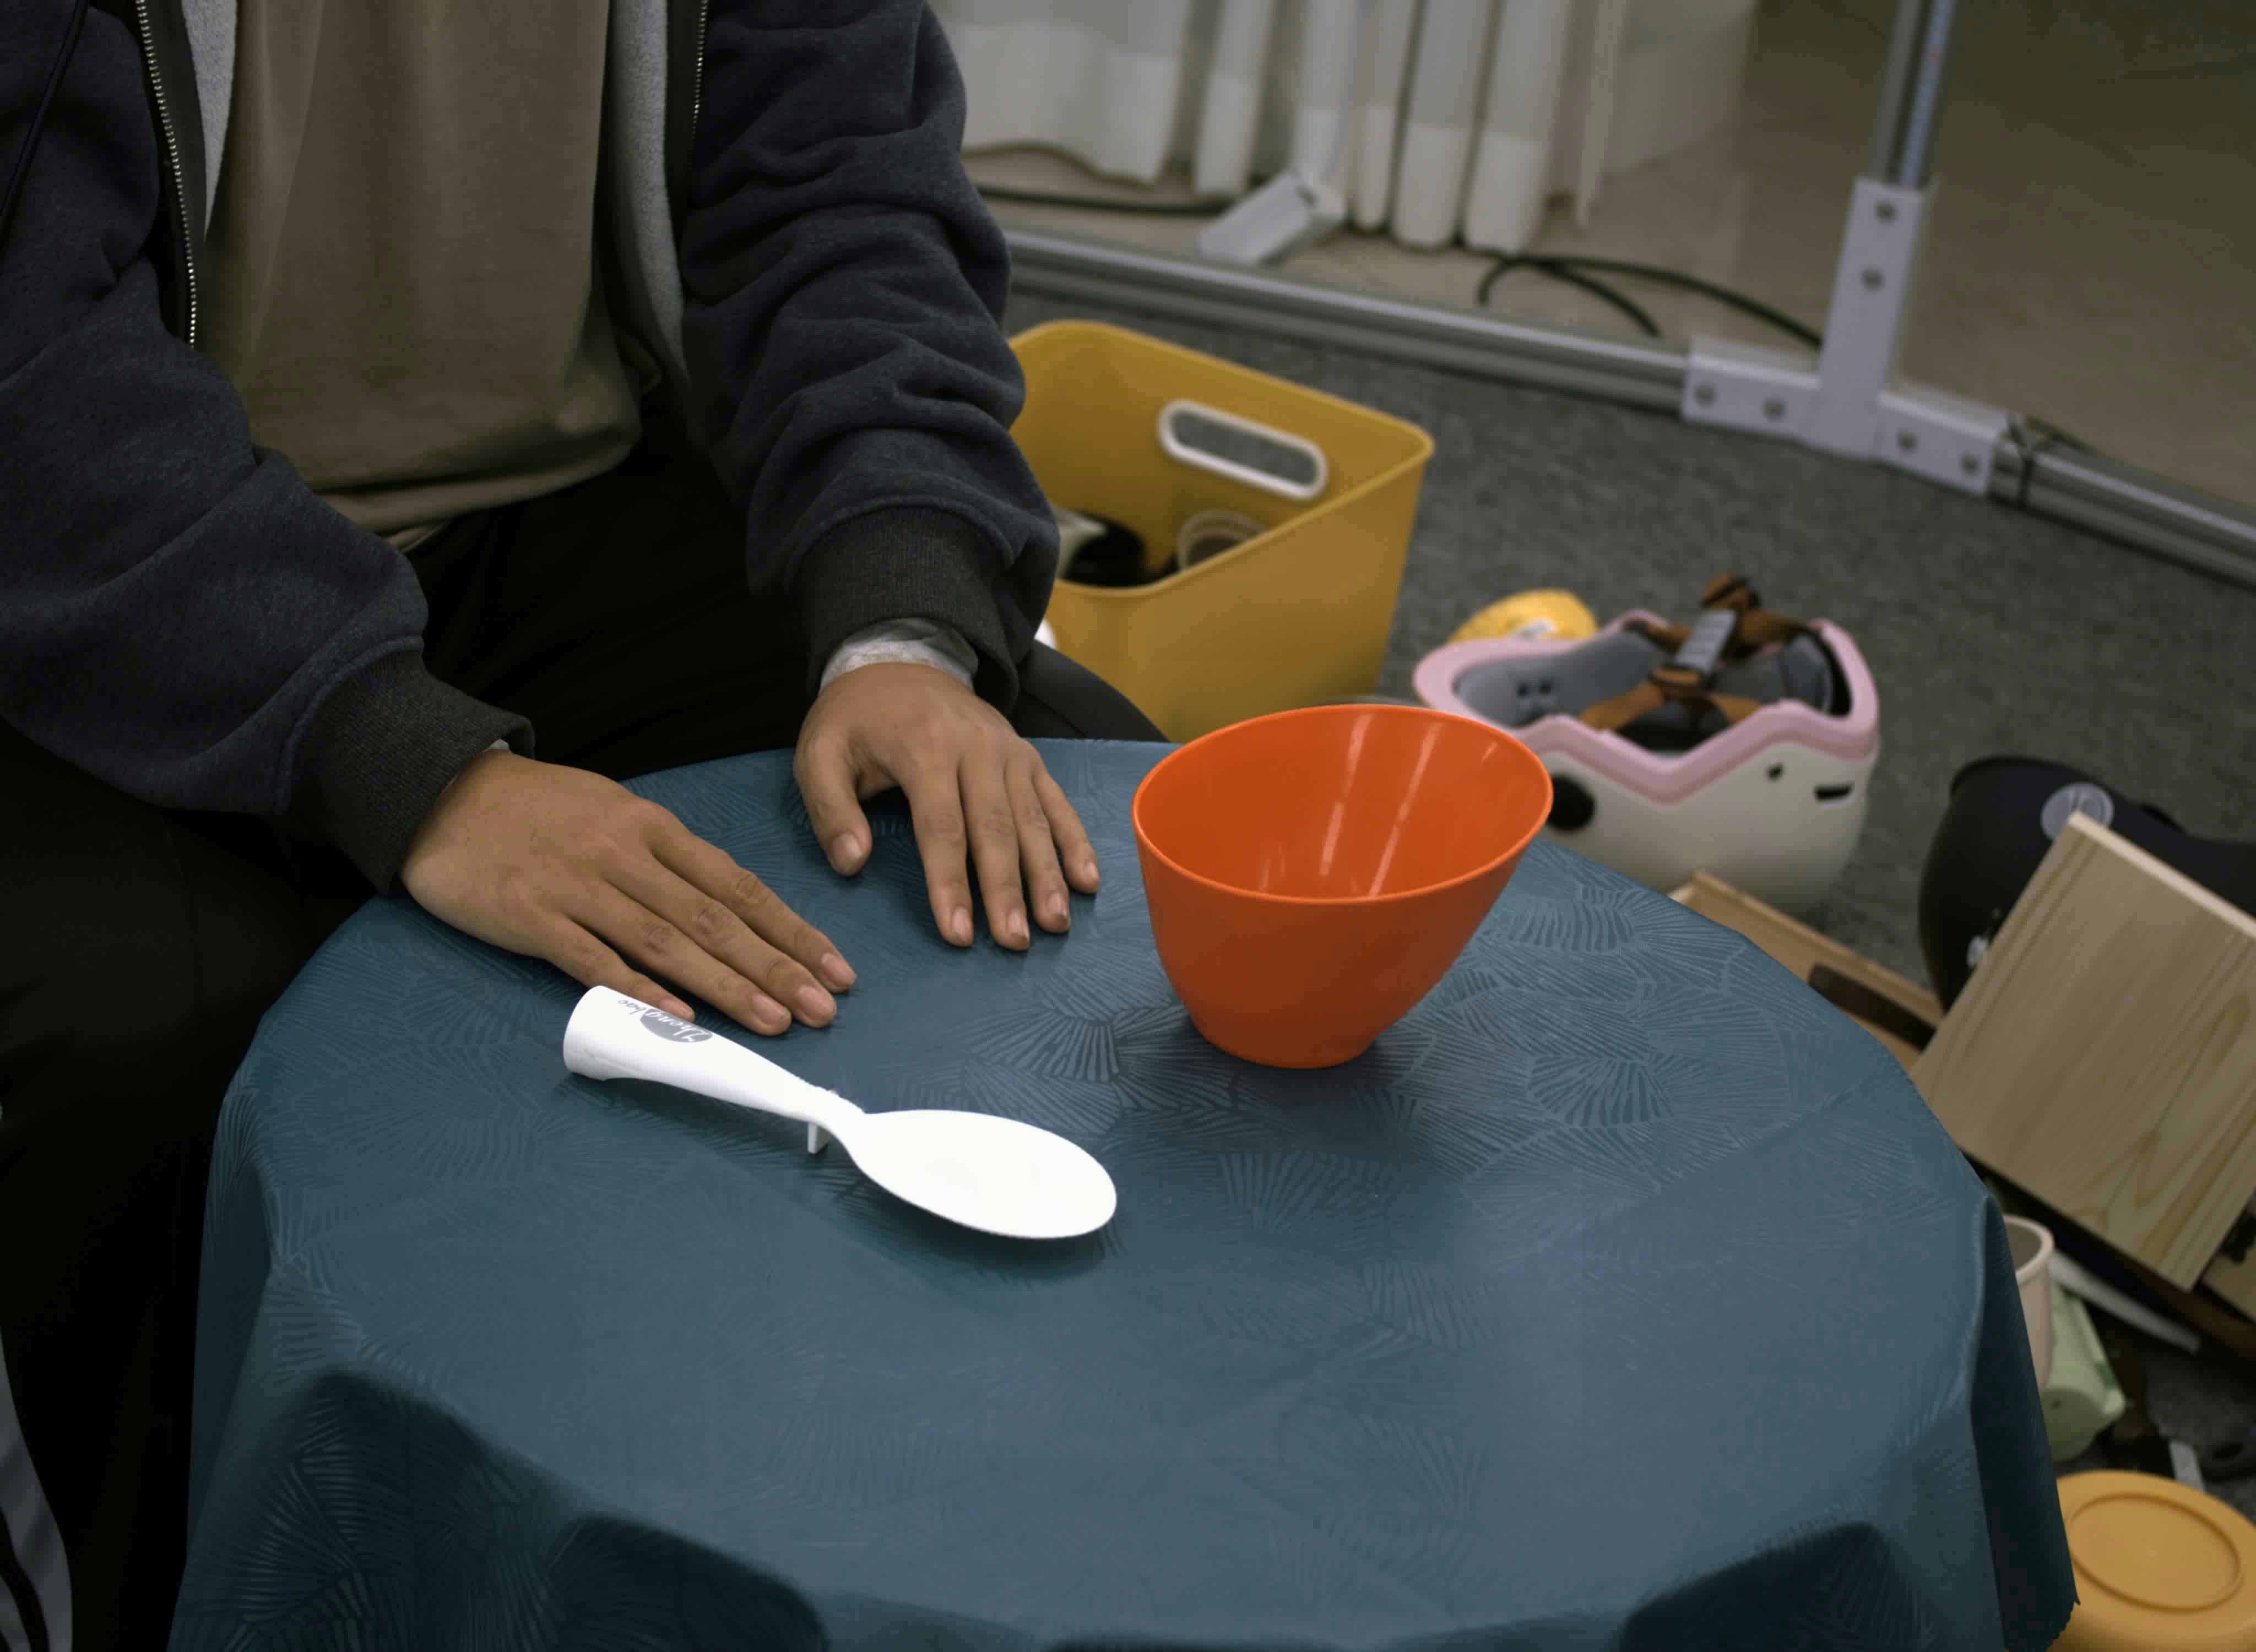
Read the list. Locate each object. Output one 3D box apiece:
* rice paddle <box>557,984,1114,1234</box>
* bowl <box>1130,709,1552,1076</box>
[{"bbox_3d":[-0.098,0.097,1.798,0.206,0.029,0.069,18,30,21],"label":"rice paddle"},{"bbox_3d":[0.072,0.029,1.894,0.147,0.104,0.149,4,27,-2],"label":"bowl"}]
